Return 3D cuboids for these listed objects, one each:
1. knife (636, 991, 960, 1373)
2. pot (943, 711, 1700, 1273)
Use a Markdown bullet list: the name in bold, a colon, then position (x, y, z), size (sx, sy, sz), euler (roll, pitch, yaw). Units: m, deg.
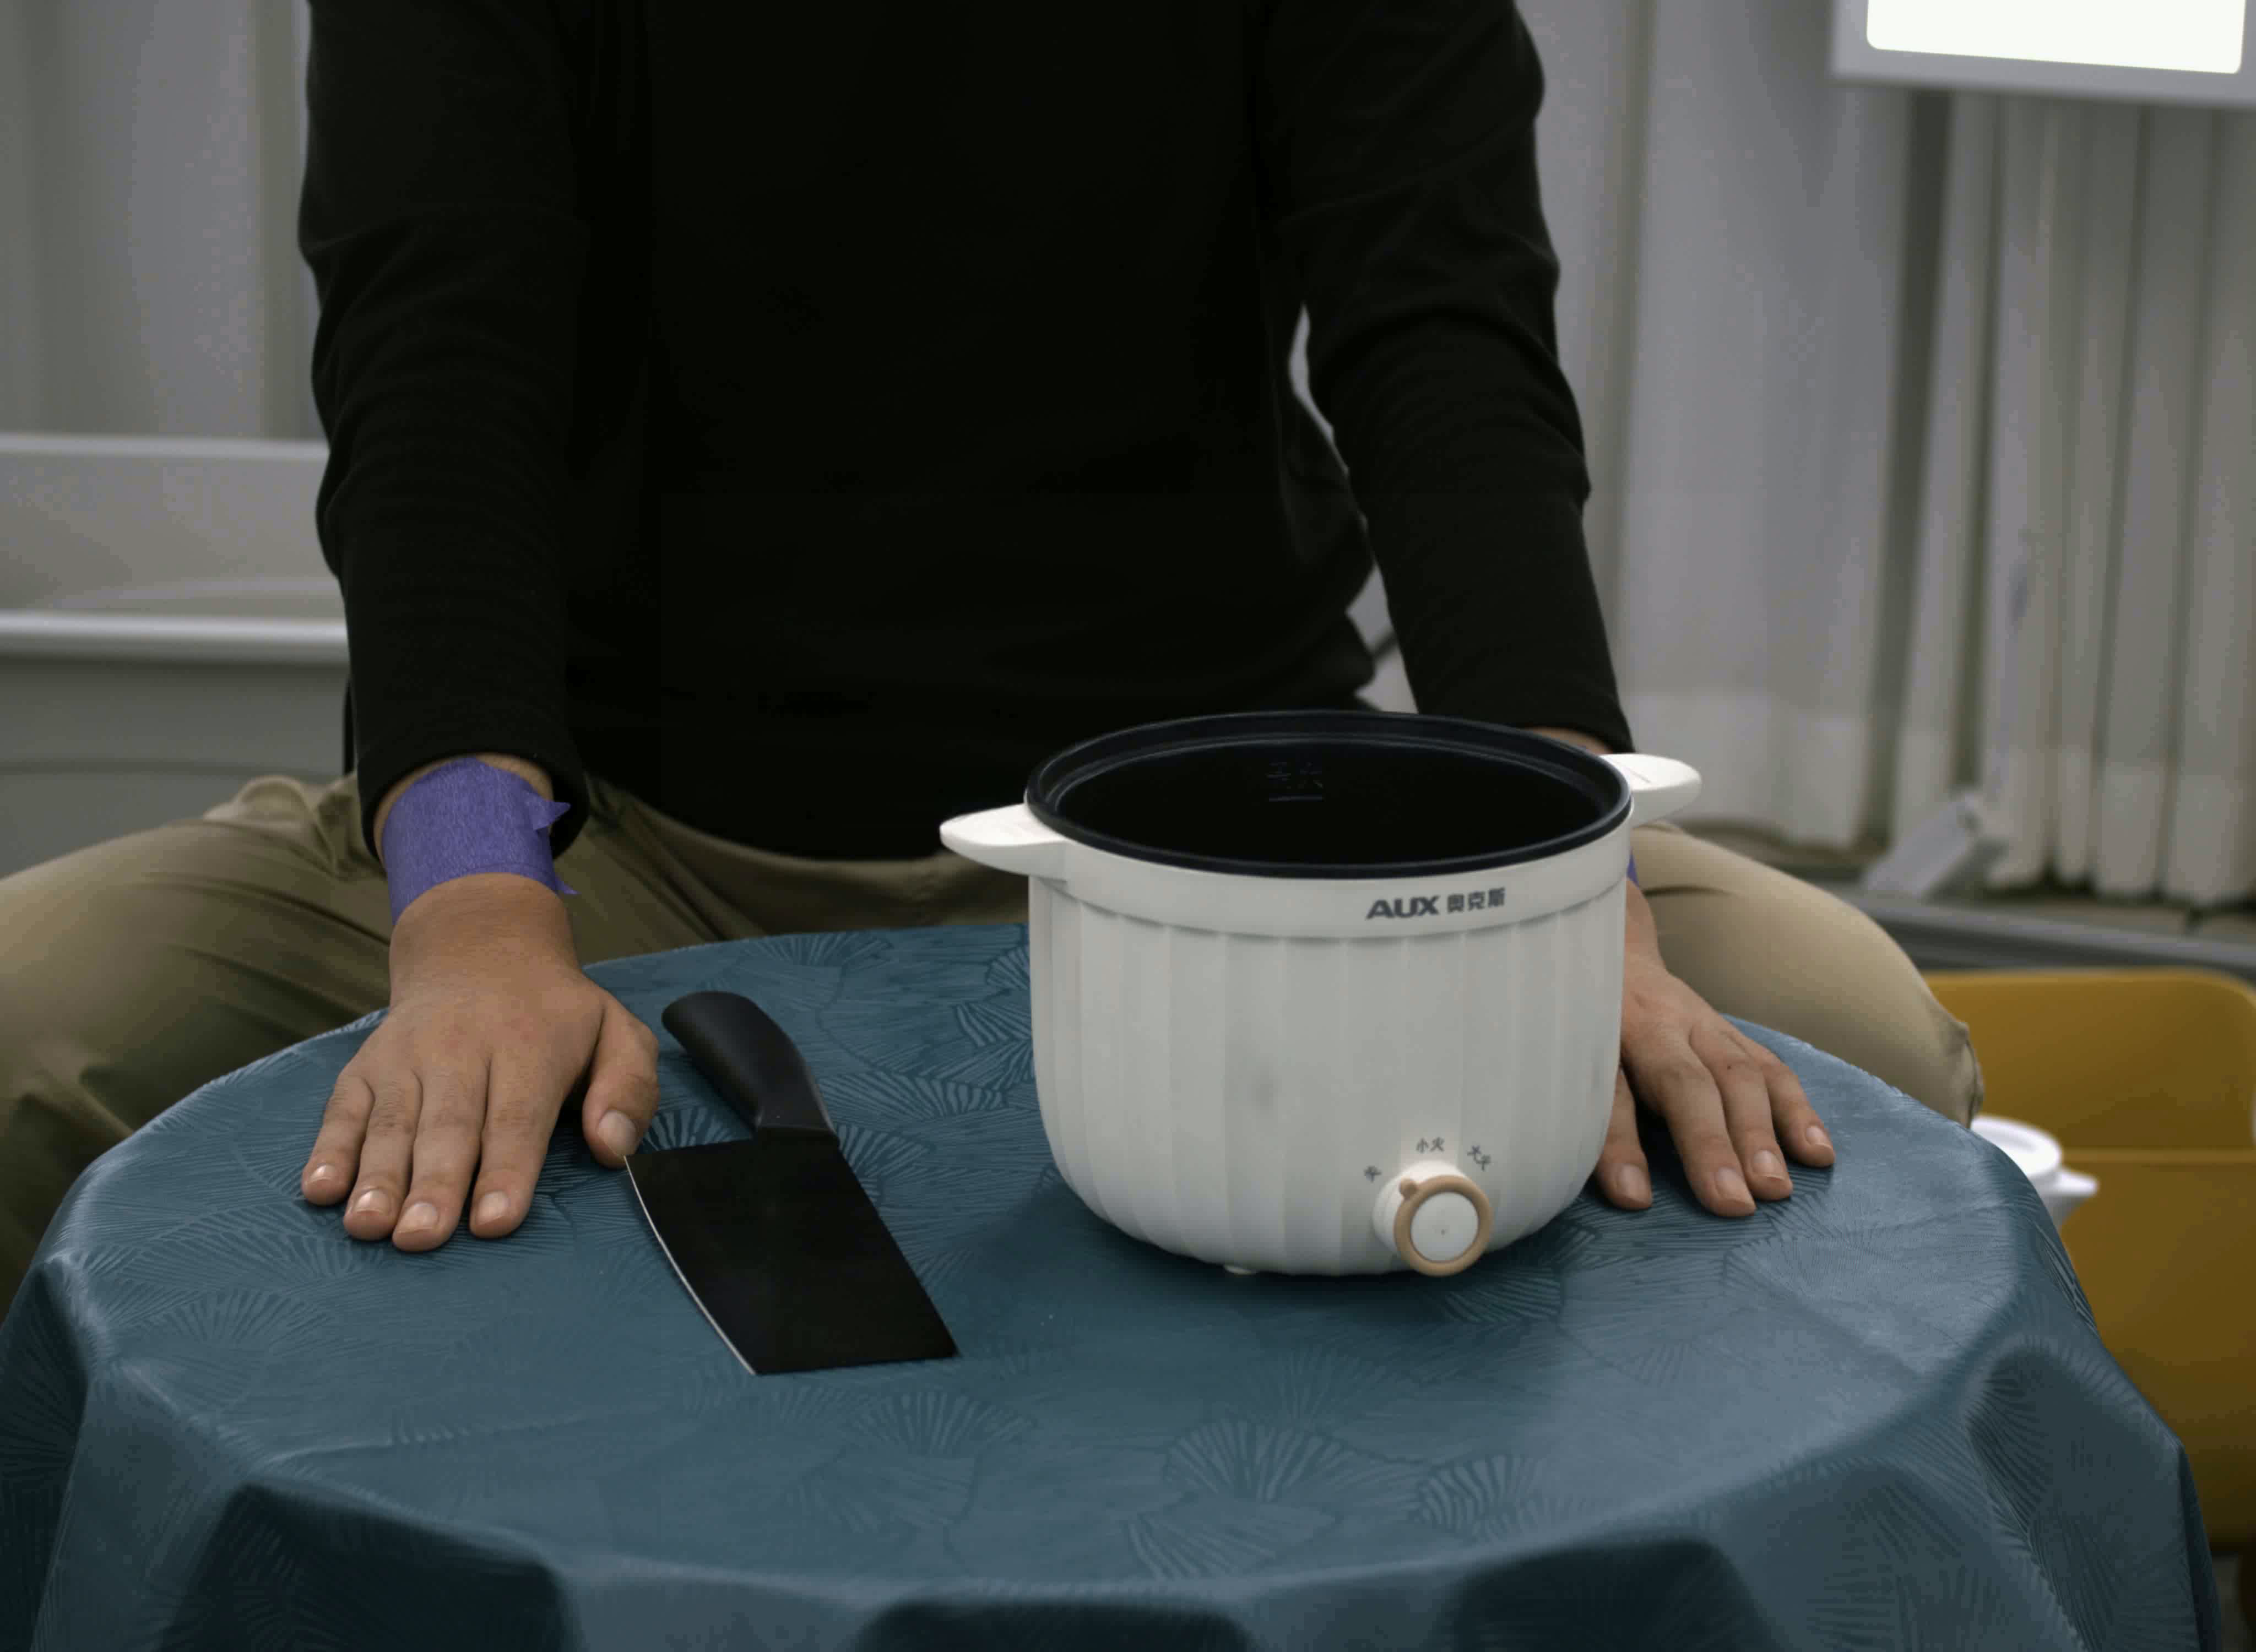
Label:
- **knife**: position (-0.111, 0.107, 1.613), size (0.081, 0.021, 0.299), euler (-3, 18, -10)
- **pot**: position (0.063, 0.052, 1.582), size (0.241, 0.144, 0.188), euler (-6, 14, -18)
